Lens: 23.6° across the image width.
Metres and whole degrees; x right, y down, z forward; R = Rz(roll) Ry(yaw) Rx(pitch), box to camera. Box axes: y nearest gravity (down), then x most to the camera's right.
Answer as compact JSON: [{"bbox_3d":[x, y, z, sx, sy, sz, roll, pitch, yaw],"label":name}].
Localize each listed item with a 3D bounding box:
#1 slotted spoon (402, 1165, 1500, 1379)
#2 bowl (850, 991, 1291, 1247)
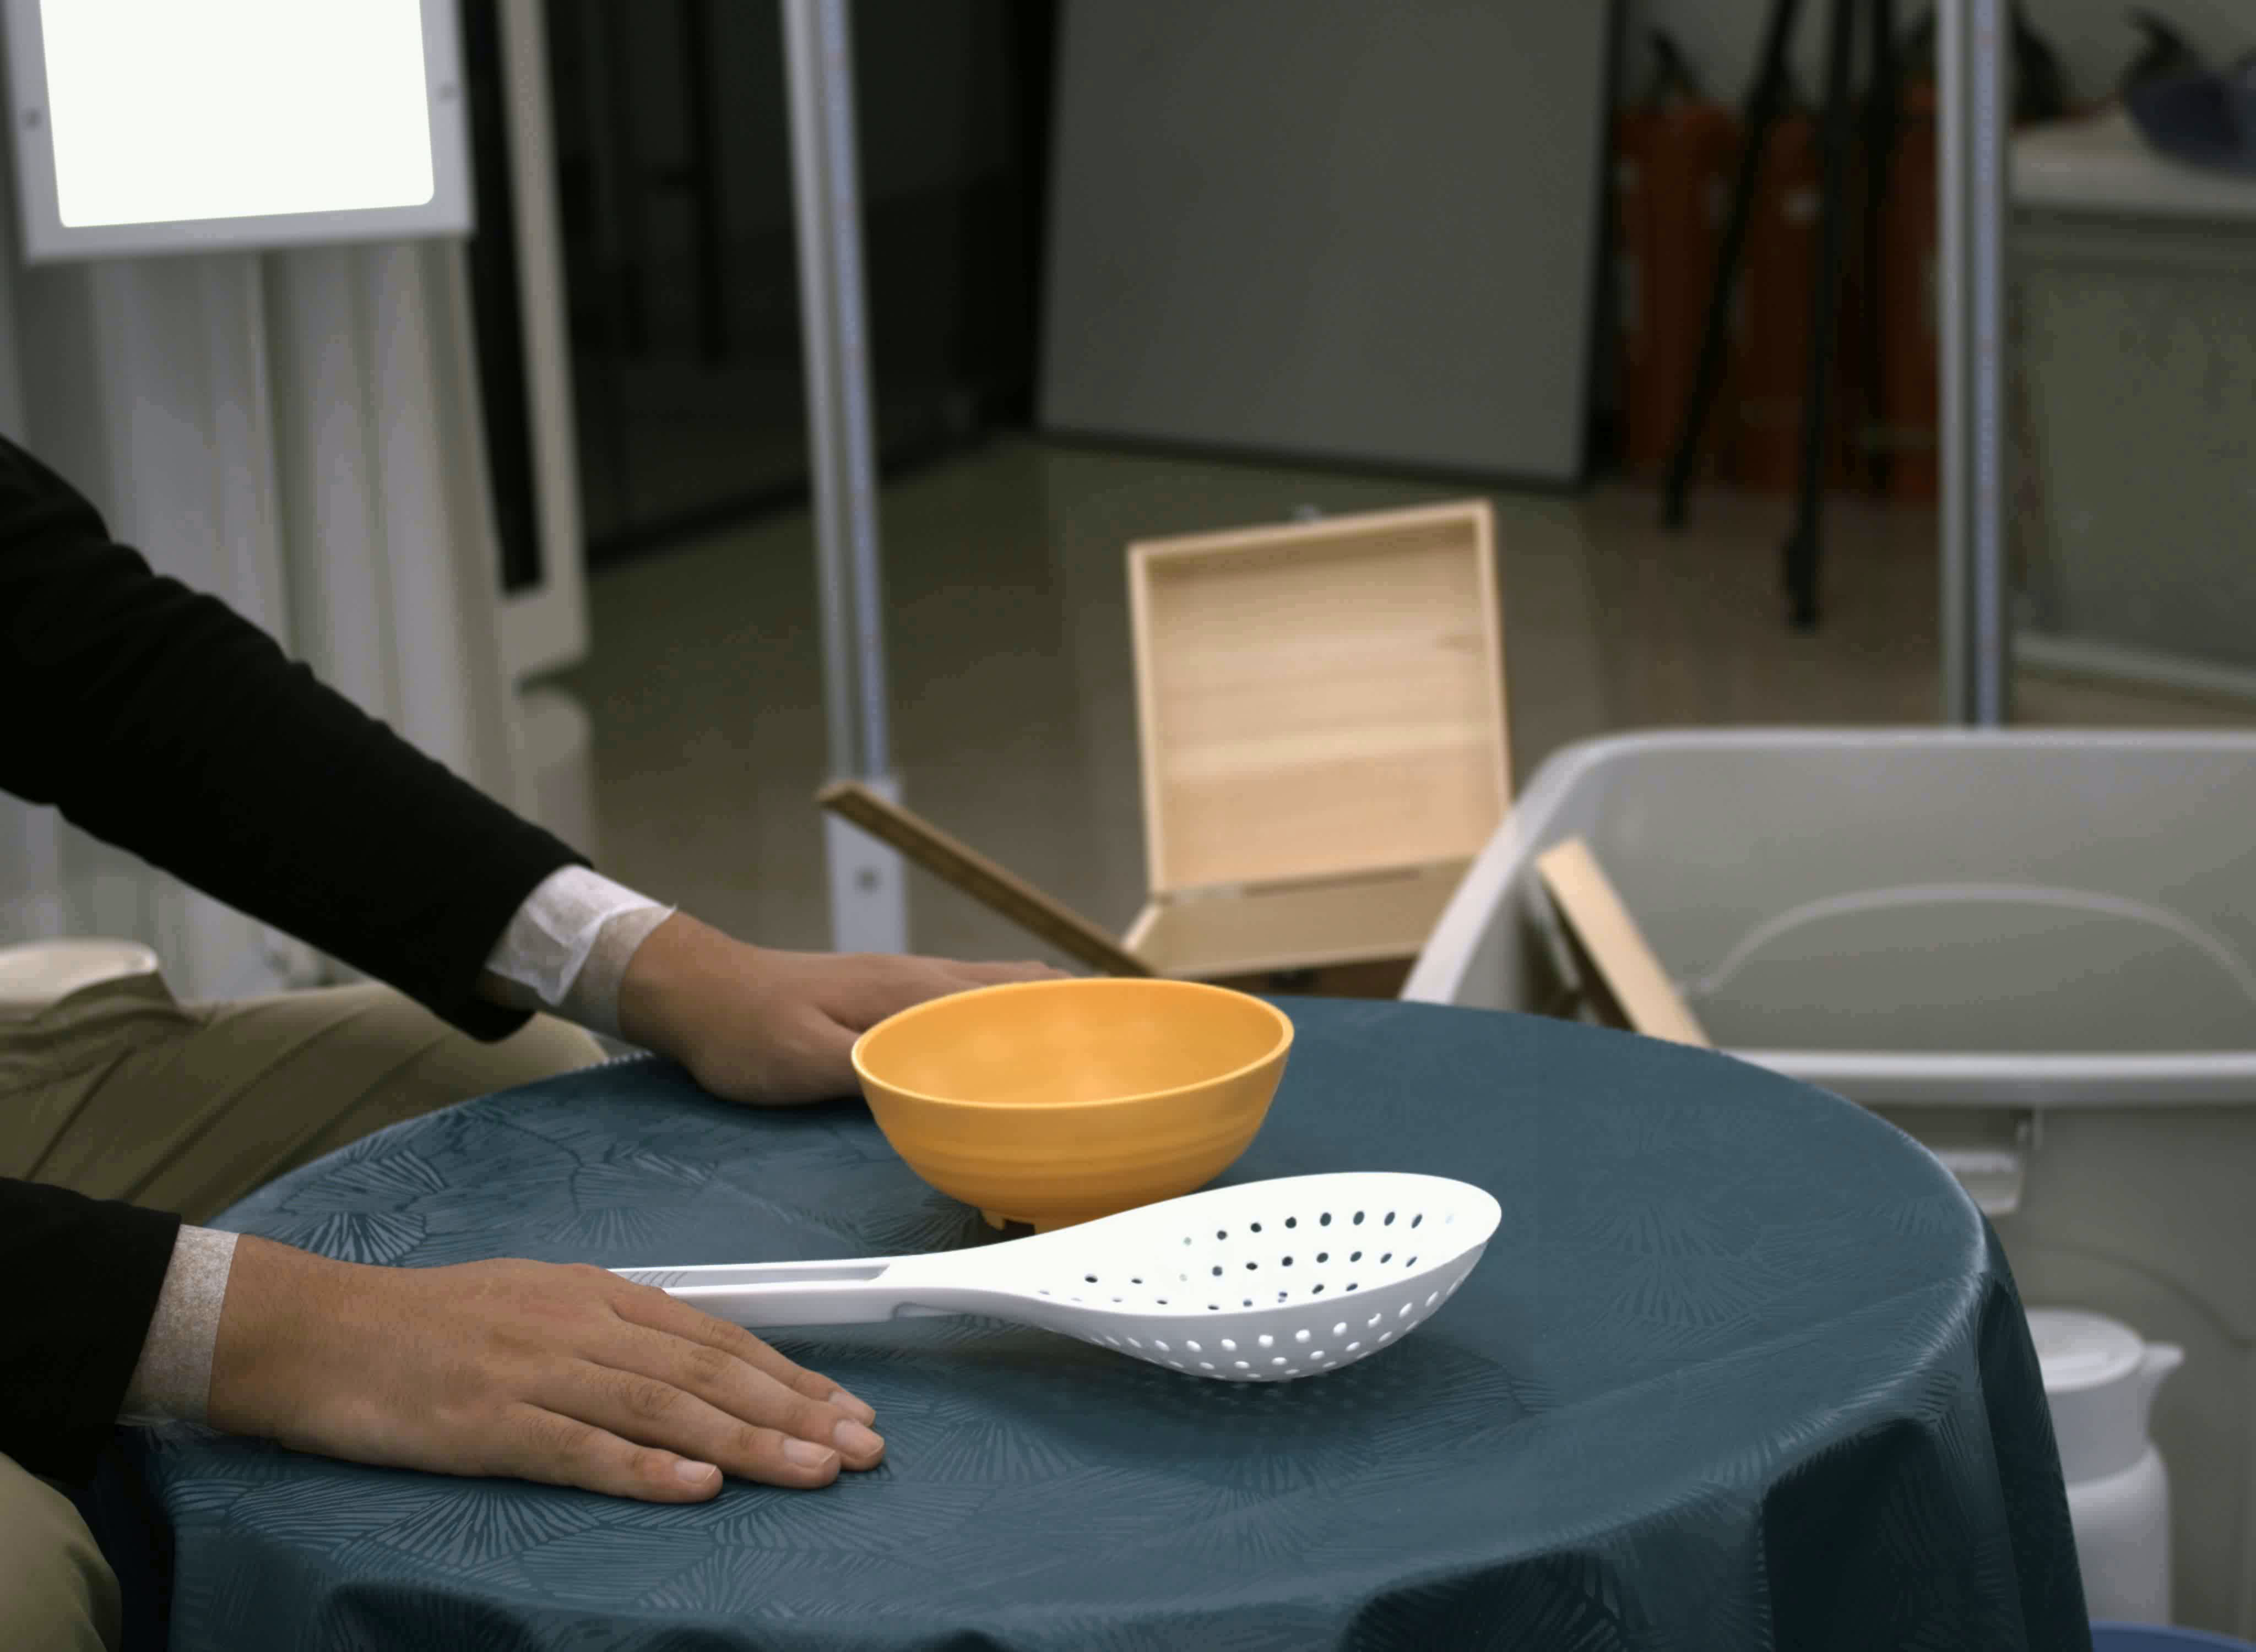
[{"bbox_3d":[-0.057,0.138,1.622,0.349,0.046,0.135,-1,13,18],"label":"slotted spoon"},{"bbox_3d":[-0.017,0.099,1.748,0.143,0.061,0.145,-3,12,0],"label":"bowl"}]
